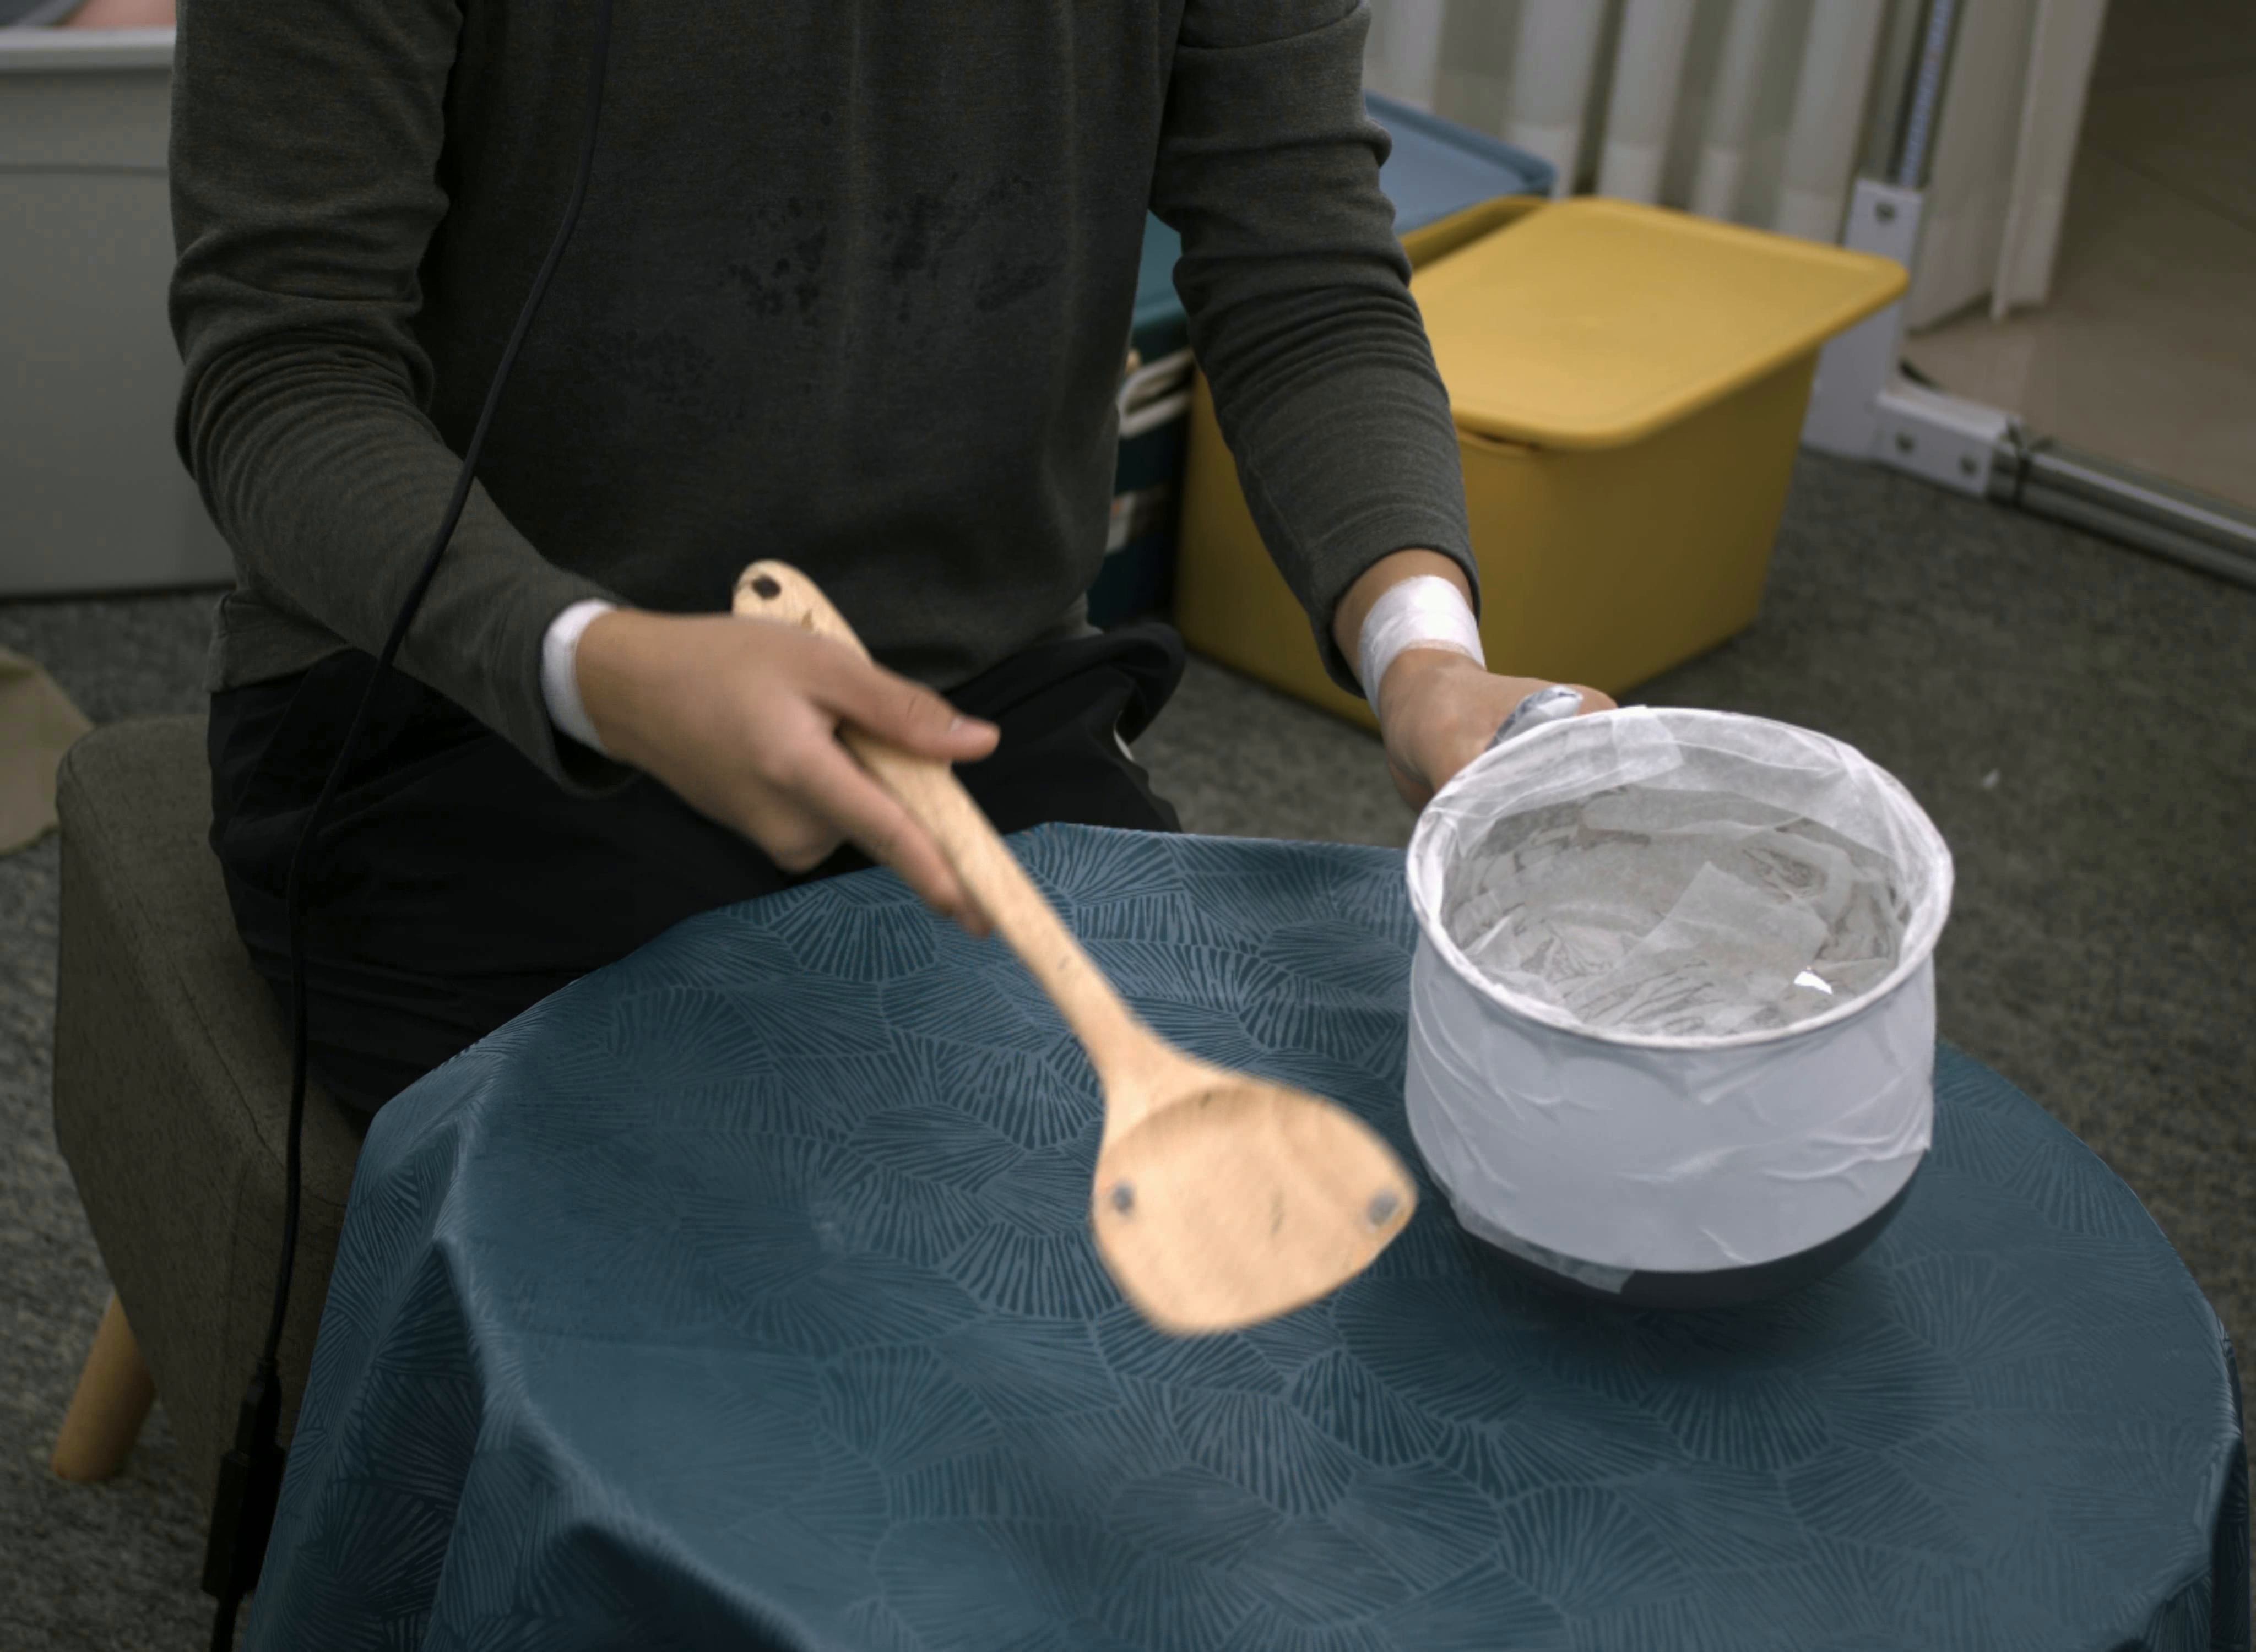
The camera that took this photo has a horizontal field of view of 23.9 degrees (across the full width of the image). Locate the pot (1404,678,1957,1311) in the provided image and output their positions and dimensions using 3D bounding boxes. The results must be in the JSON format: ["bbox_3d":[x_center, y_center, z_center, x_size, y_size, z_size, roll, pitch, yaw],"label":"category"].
[{"bbox_3d":[0.170,0.047,1.780,0.178,0.136,0.236,-14,39,-16],"label":"pot"}]

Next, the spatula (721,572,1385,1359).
[{"bbox_3d":[-0.046,0.033,1.700,0.095,0.018,0.394,-24,48,-16],"label":"spatula"}]
